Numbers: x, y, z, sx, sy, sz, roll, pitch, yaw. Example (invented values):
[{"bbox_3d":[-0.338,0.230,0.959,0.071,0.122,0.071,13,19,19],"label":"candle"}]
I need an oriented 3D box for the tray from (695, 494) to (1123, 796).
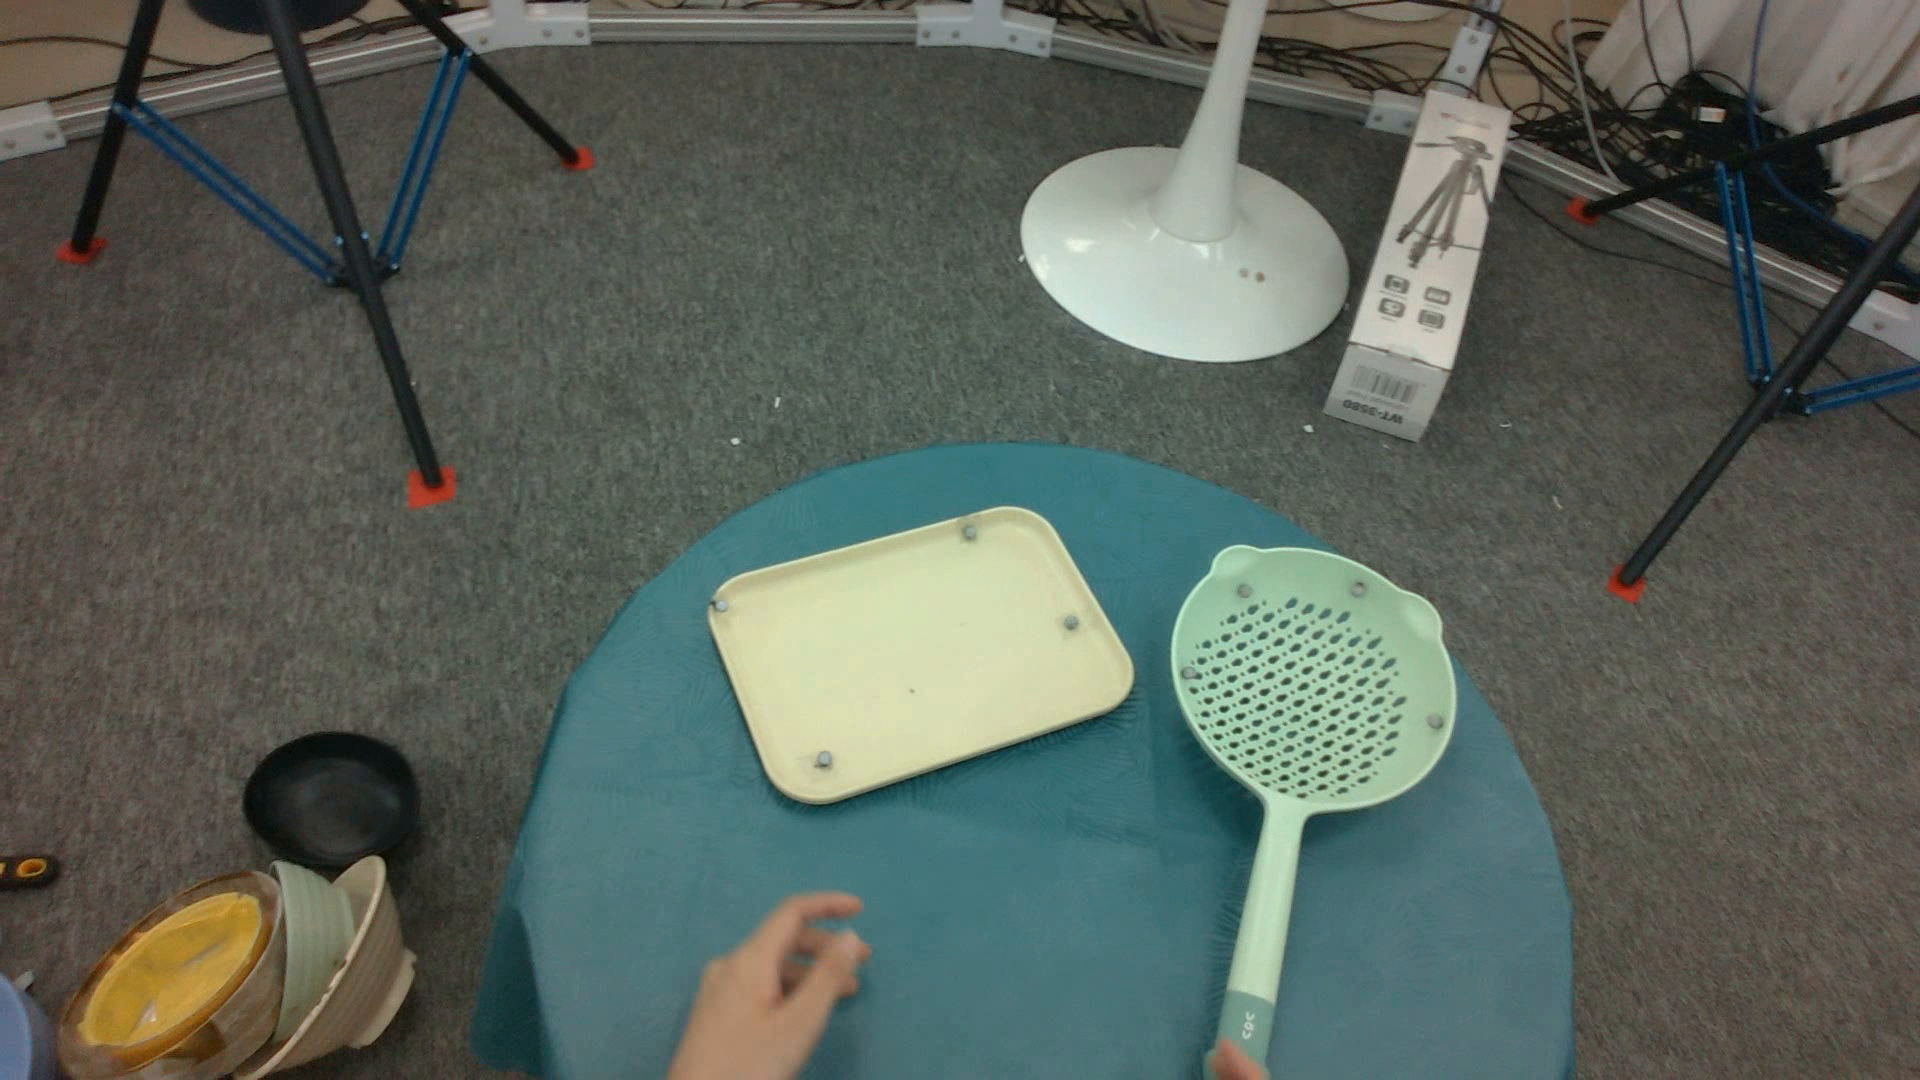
[{"bbox_3d":[-0.032,0.060,0.858,0.240,0.017,0.171,-16,55,-19],"label":"tray"}]

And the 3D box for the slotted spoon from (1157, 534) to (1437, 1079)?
[{"bbox_3d":[0.171,0.156,0.780,0.169,0.075,0.361,17,51,6],"label":"slotted spoon"}]
